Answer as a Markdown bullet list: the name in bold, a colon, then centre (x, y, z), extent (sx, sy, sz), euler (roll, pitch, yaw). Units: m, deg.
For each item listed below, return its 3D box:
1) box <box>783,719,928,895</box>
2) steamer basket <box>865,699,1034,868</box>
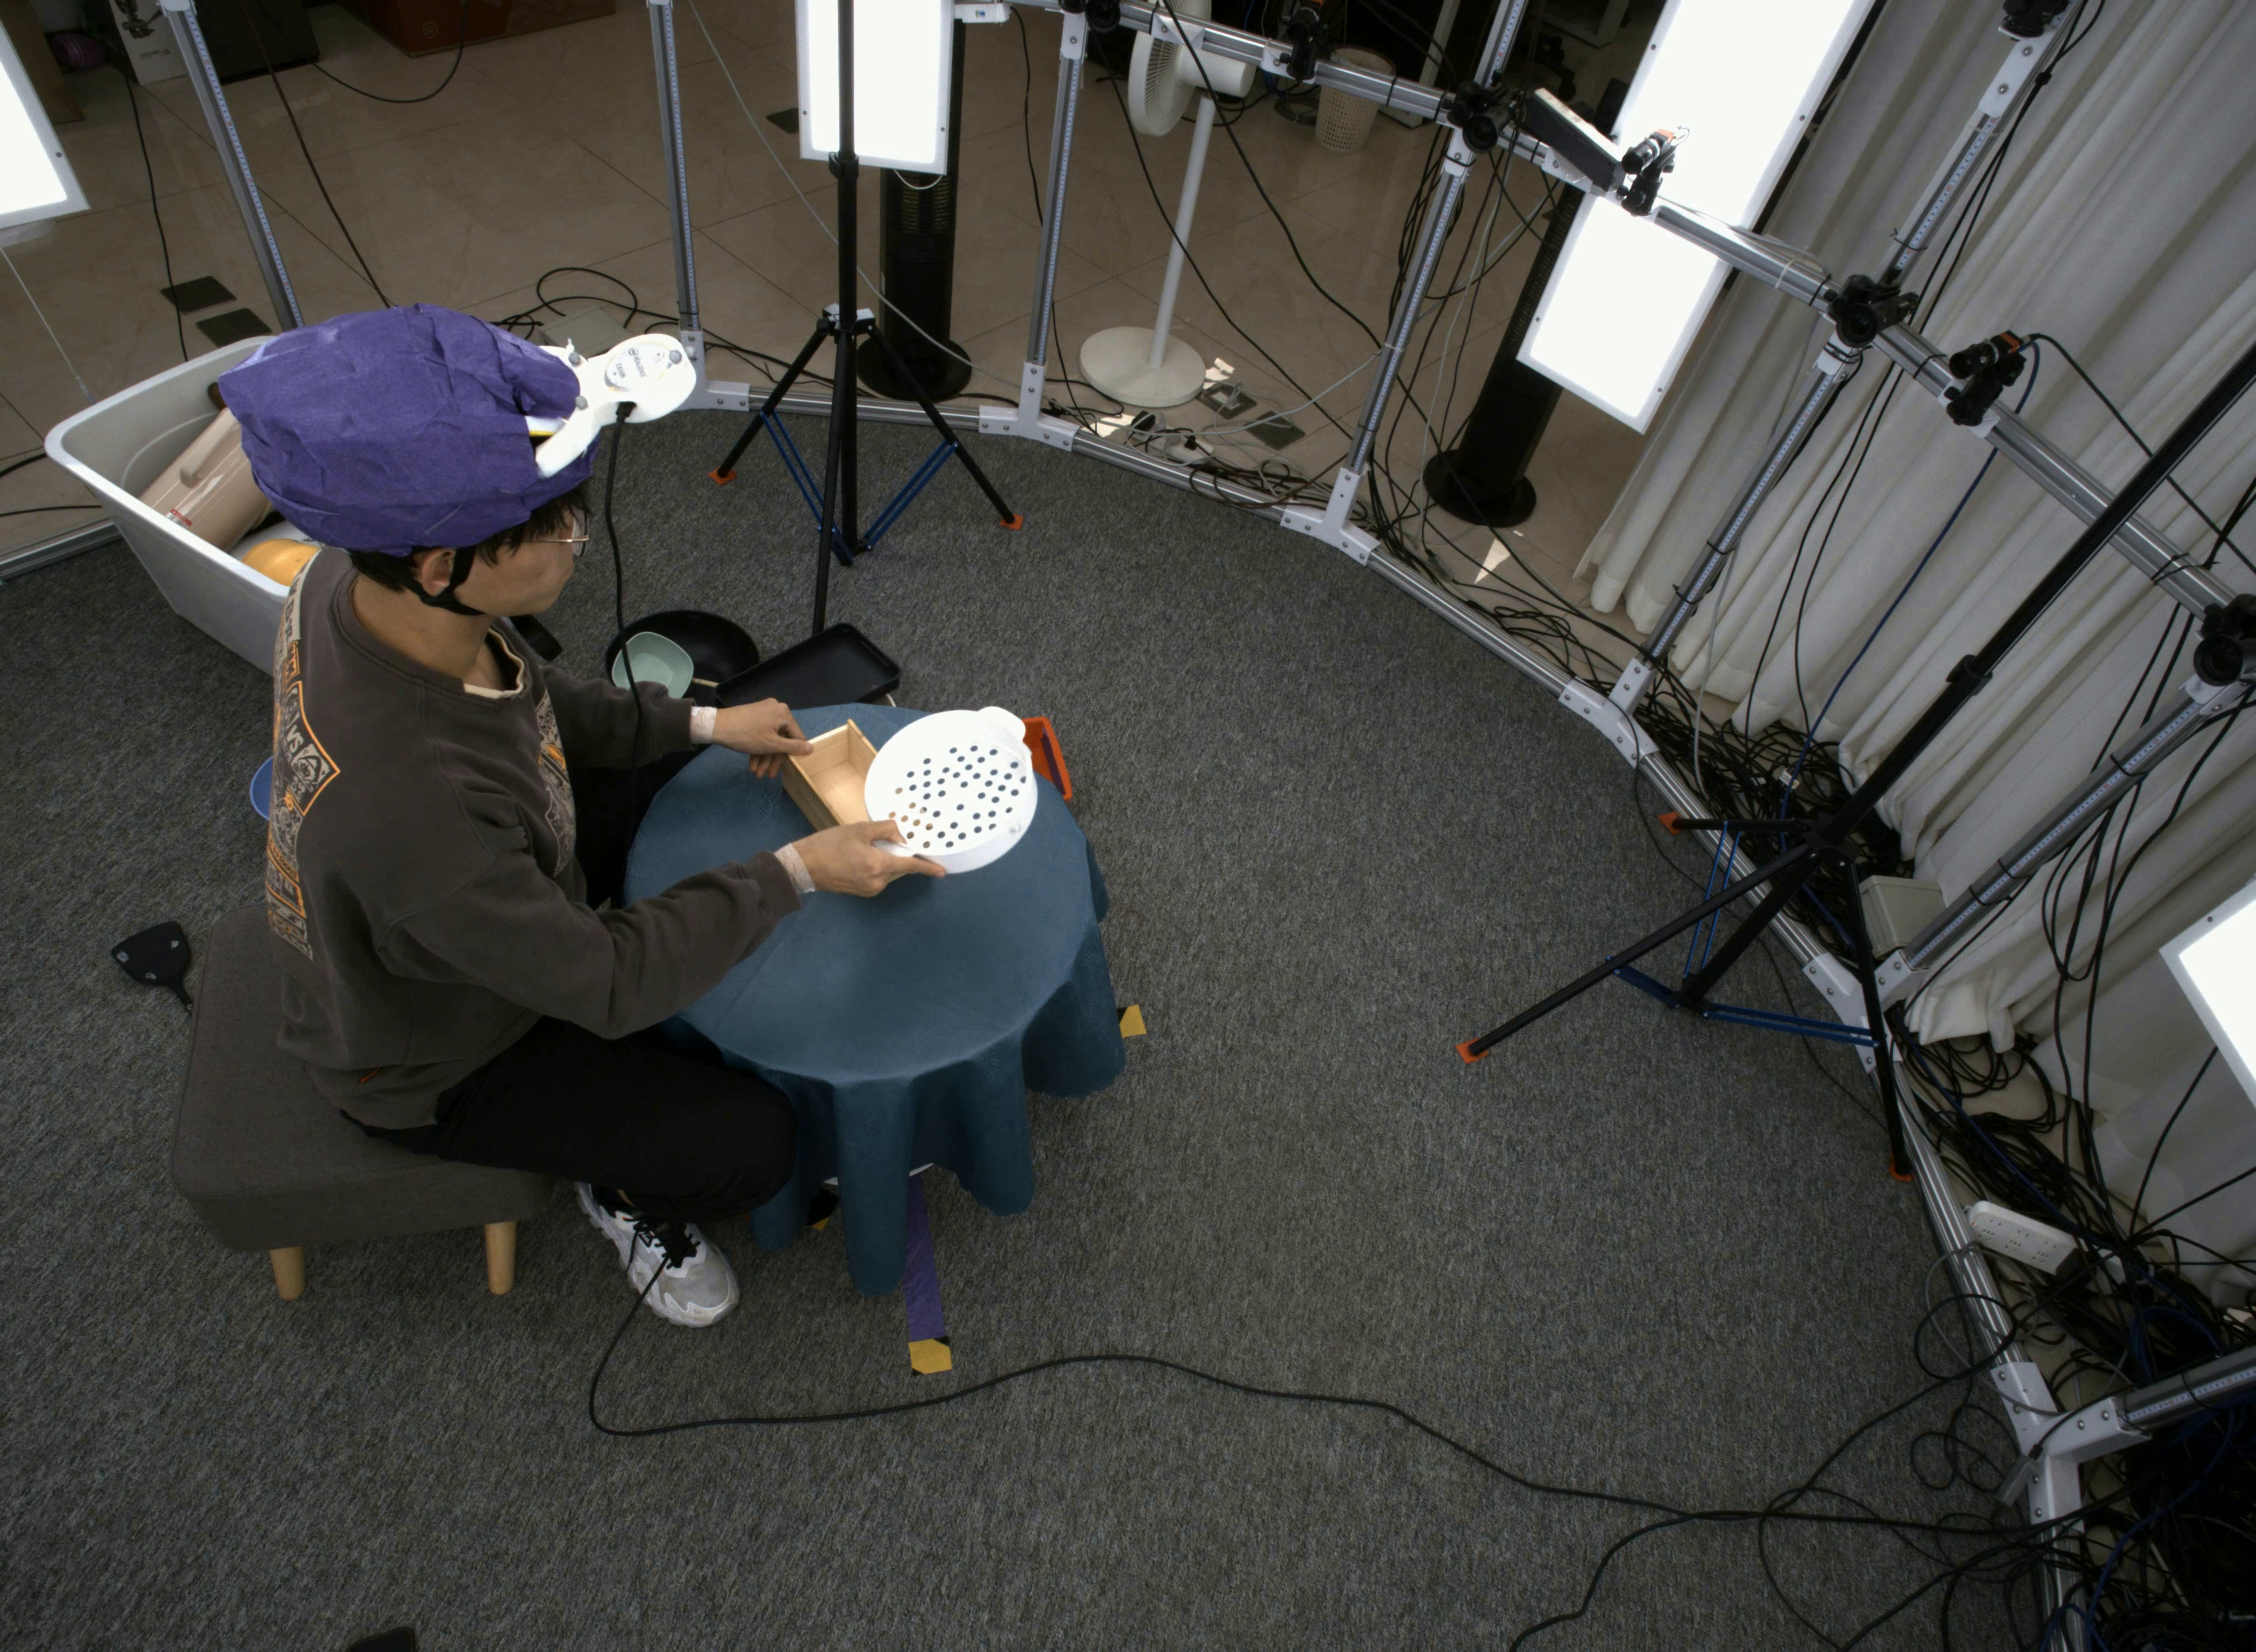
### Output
- **box**: centre (-0.357, -0.027, 1.724), extent (0.108, 0.082, 0.206), euler (-30, 65, -29)
- **steamer basket**: centre (-0.209, -0.046, 1.551), extent (0.195, 0.071, 0.230), euler (30, 69, 25)
